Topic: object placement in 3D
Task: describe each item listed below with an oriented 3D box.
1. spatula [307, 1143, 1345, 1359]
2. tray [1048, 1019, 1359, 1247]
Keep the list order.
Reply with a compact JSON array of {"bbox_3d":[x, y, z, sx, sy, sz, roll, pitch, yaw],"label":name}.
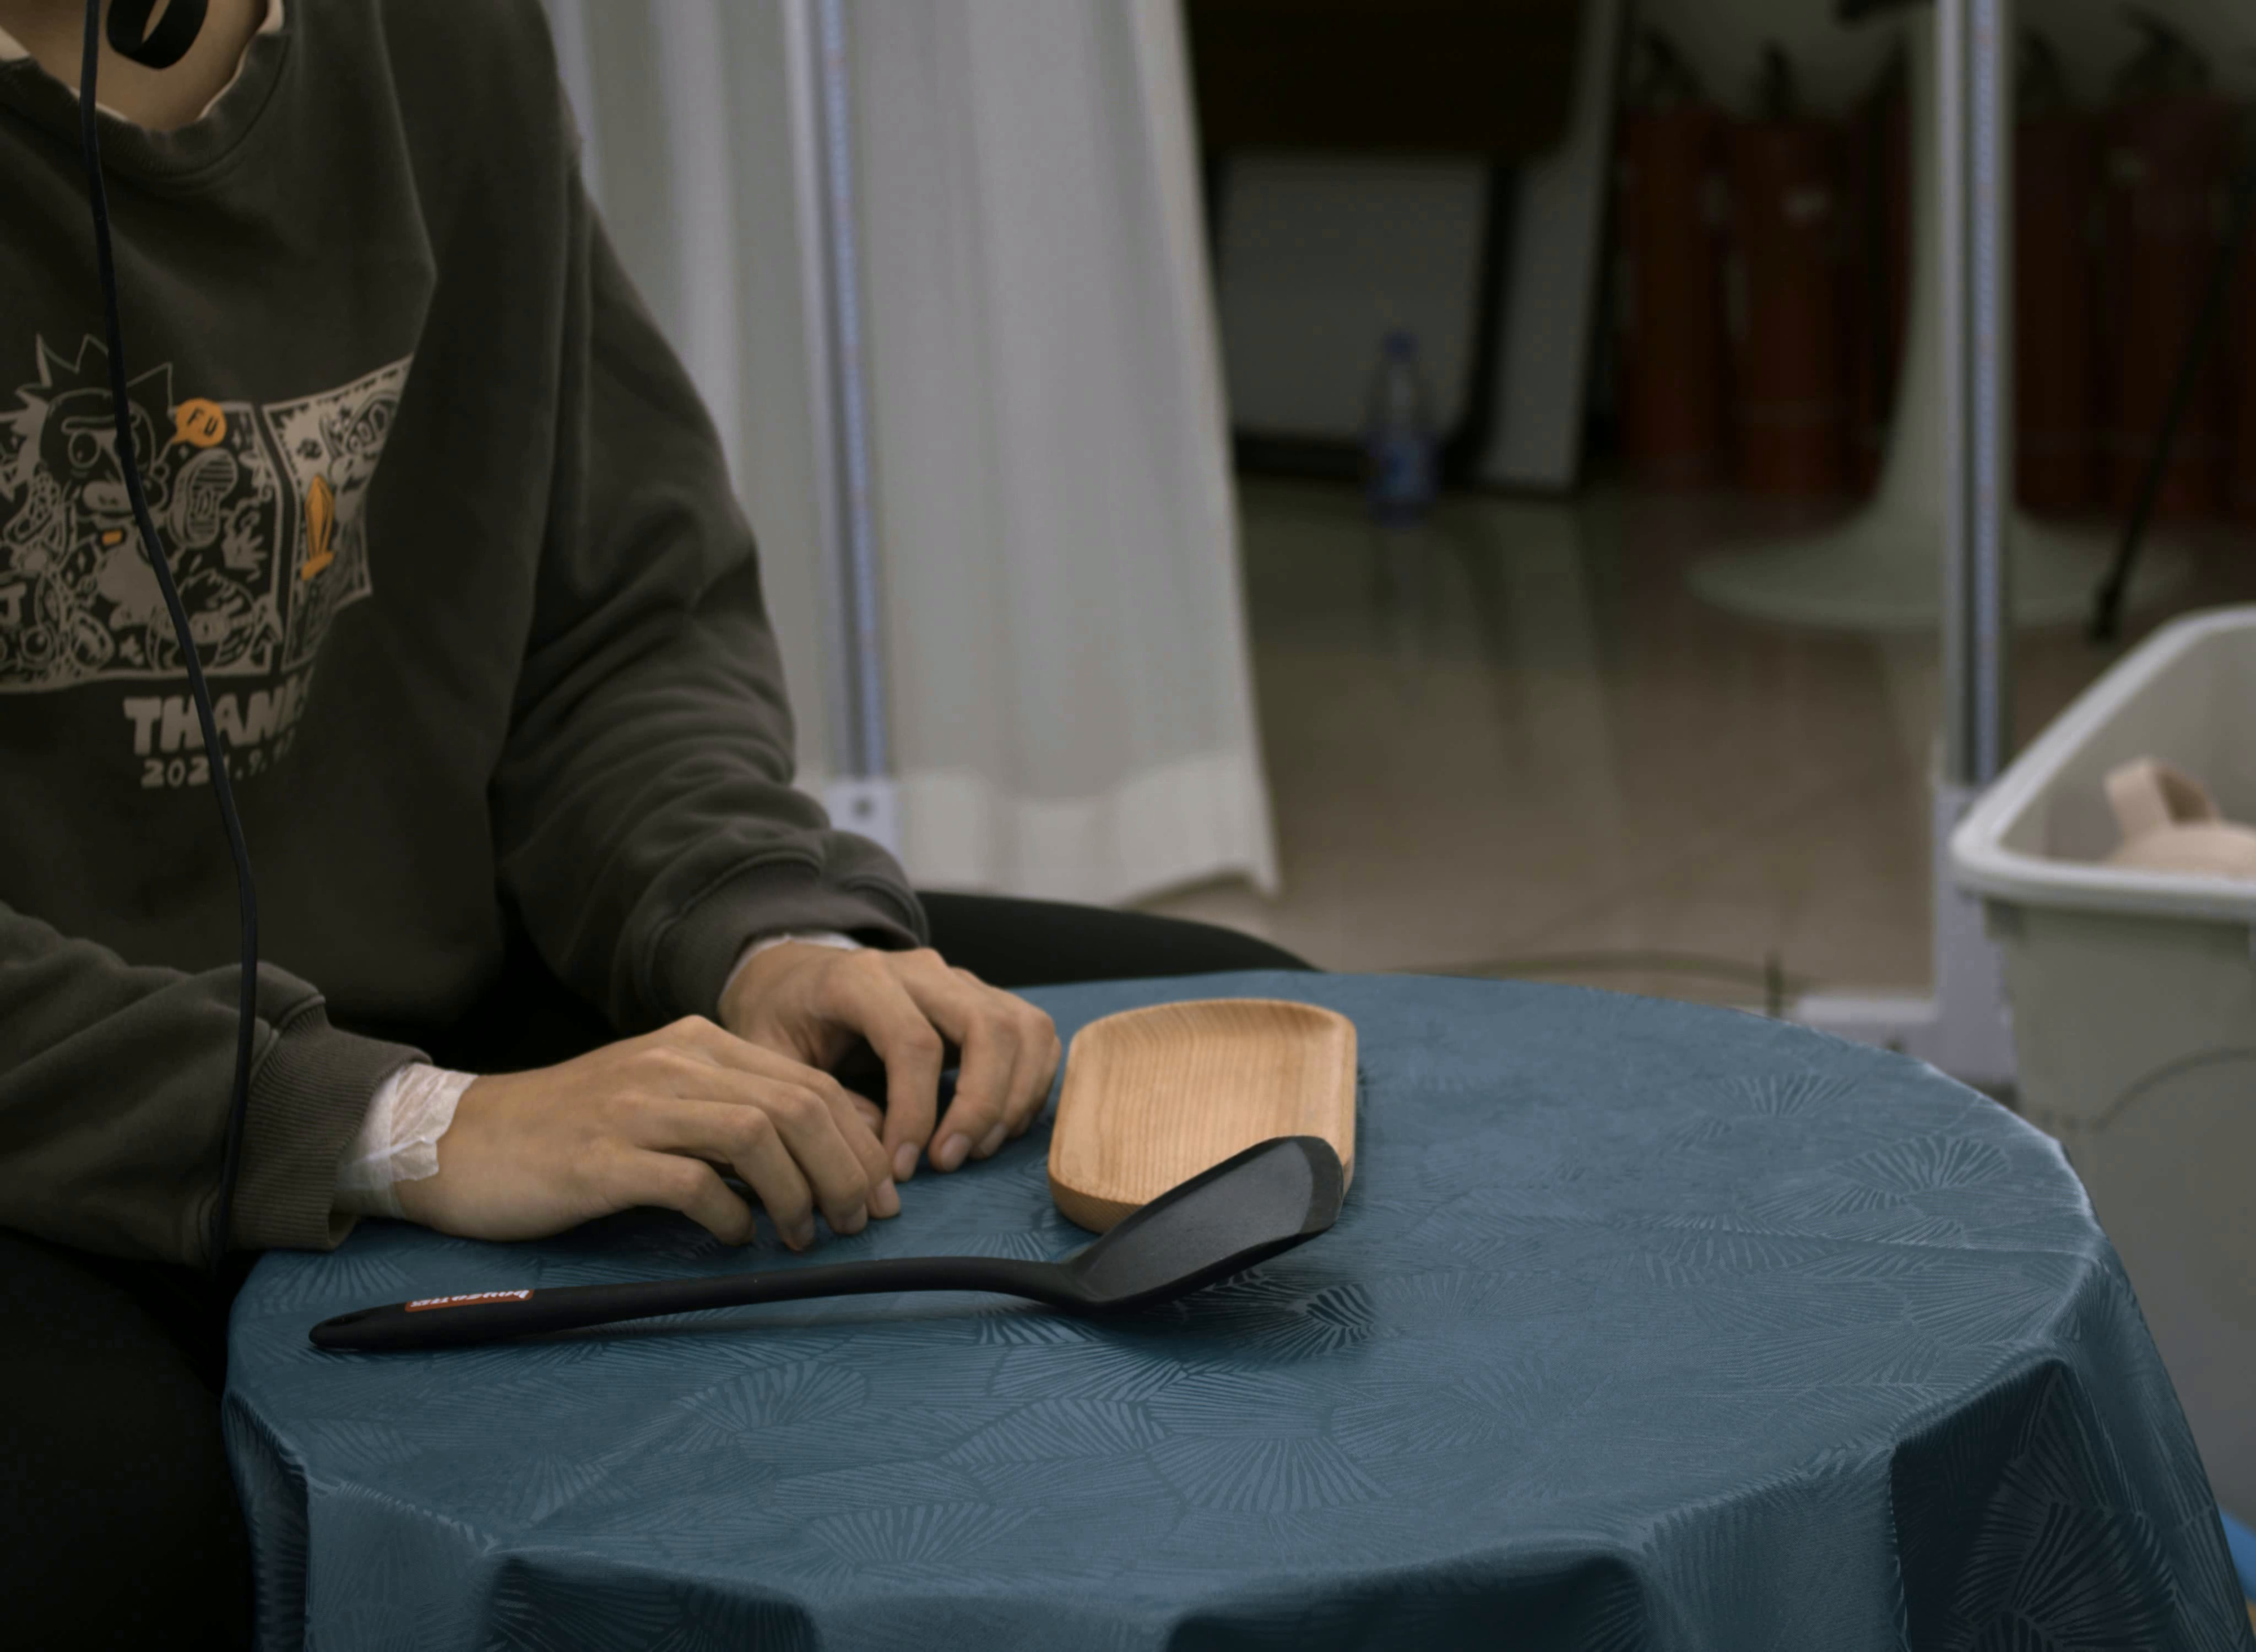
[{"bbox_3d":[-0.093,0.137,1.663,0.322,0.041,0.100,-4,12,2],"label":"spatula"},{"bbox_3d":[0.028,0.102,1.816,0.100,0.020,0.231,-4,14,4],"label":"tray"}]
